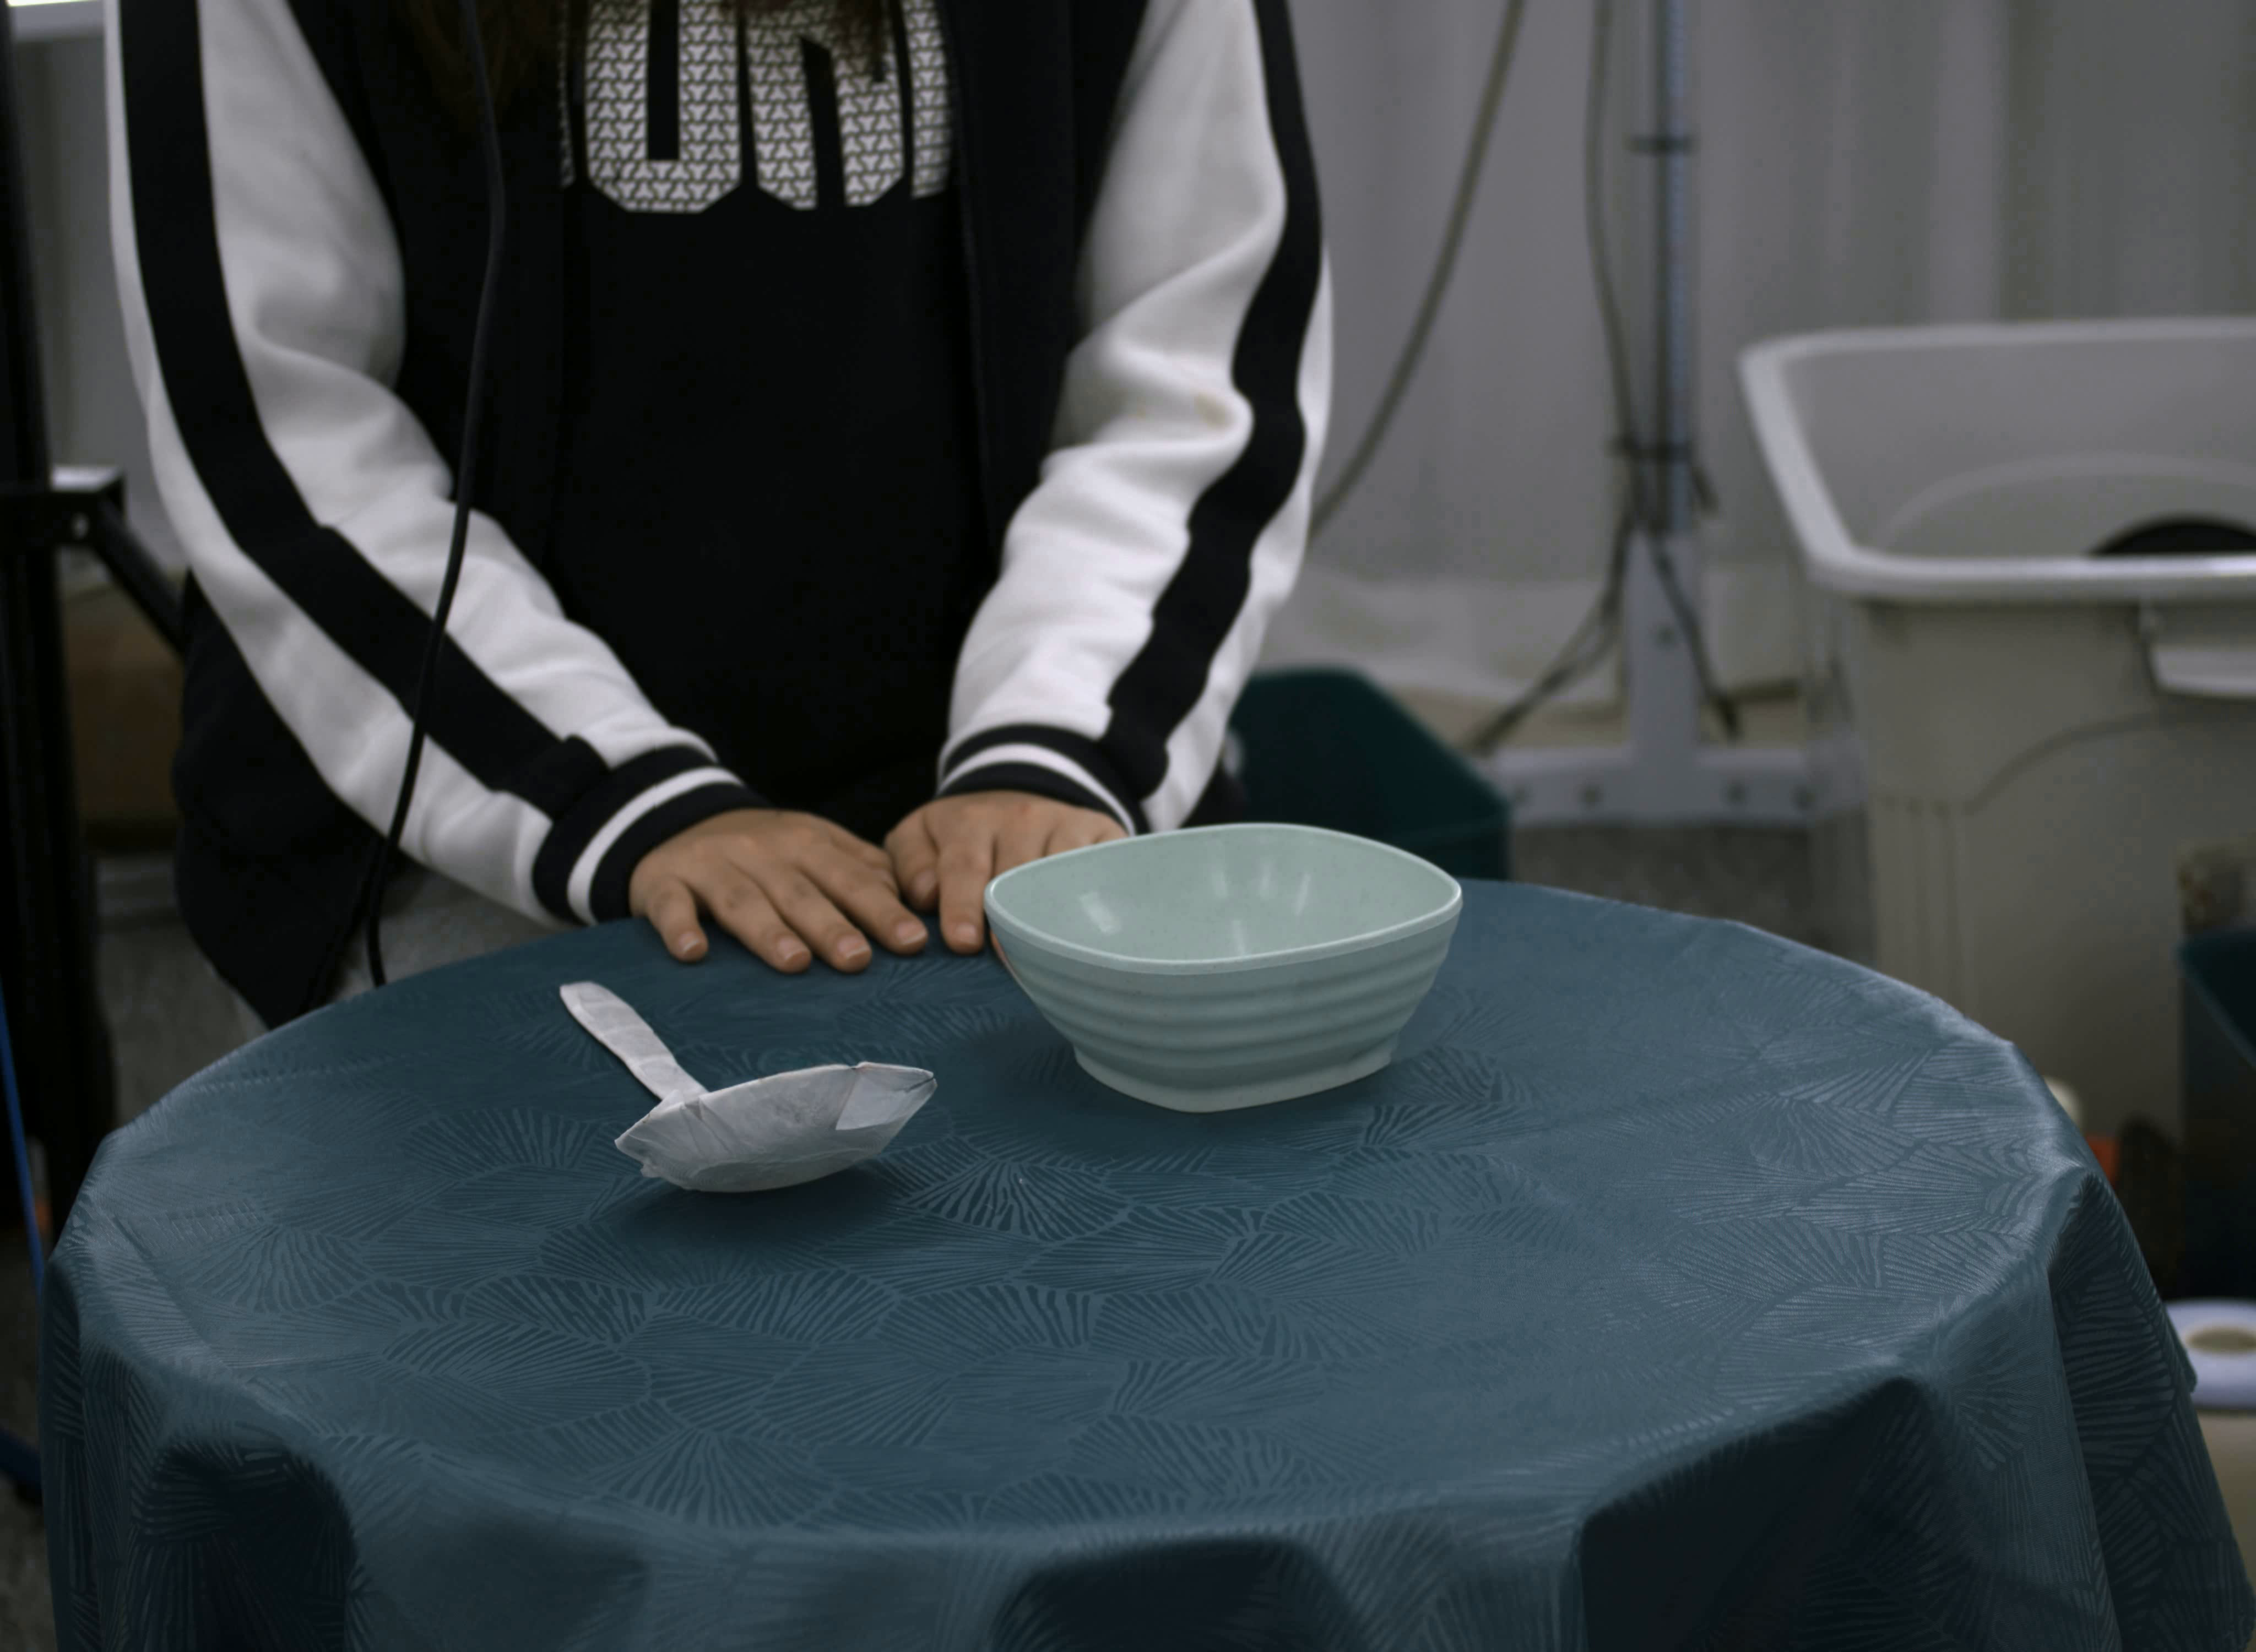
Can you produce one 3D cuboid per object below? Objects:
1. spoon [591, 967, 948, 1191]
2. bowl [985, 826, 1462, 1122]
[{"bbox_3d":[-0.127,0.060,1.646,0.099,0.059,0.281,-2,15,-16],"label":"spoon"},{"bbox_3d":[0.031,0.049,1.662,0.151,0.058,0.152,-3,16,0],"label":"bowl"}]
